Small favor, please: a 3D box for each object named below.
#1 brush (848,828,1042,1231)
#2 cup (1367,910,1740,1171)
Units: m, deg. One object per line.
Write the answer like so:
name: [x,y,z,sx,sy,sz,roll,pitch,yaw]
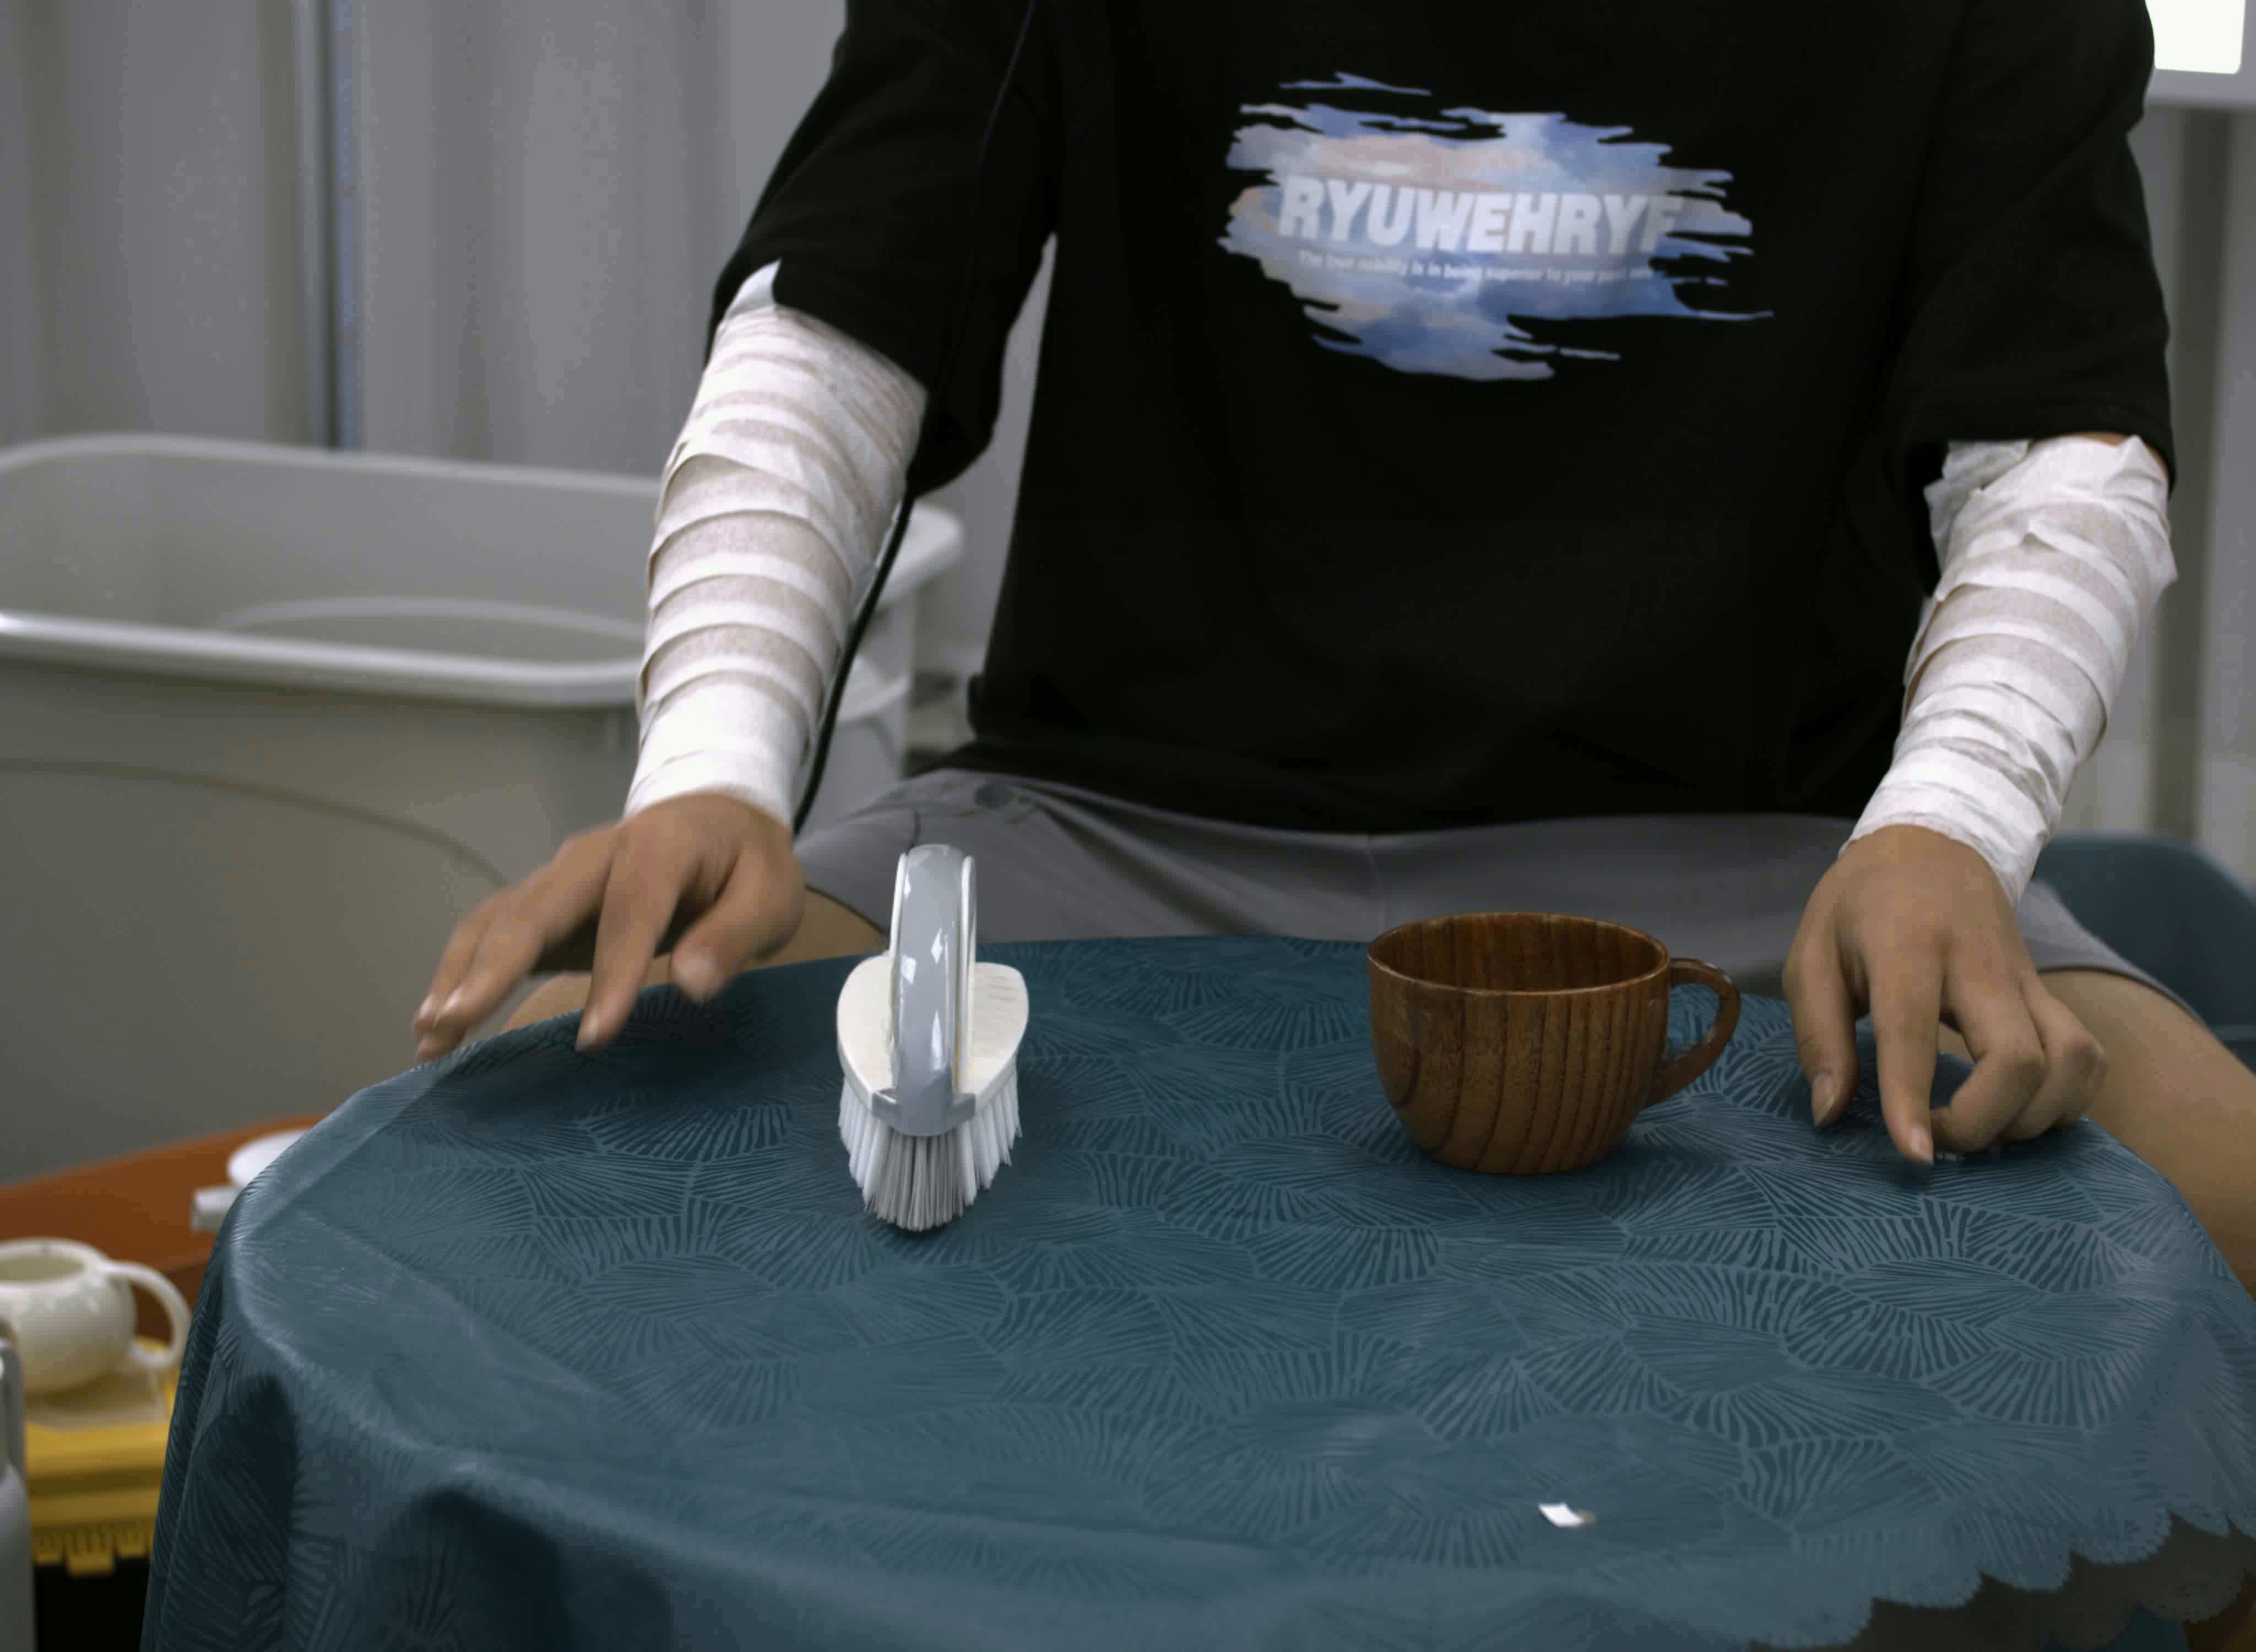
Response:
brush: [-0.059,0.057,1.649,0.061,0.095,0.174,-3,18,2]
cup: [0.134,0.069,1.661,0.119,0.068,0.095,0,13,-7]
